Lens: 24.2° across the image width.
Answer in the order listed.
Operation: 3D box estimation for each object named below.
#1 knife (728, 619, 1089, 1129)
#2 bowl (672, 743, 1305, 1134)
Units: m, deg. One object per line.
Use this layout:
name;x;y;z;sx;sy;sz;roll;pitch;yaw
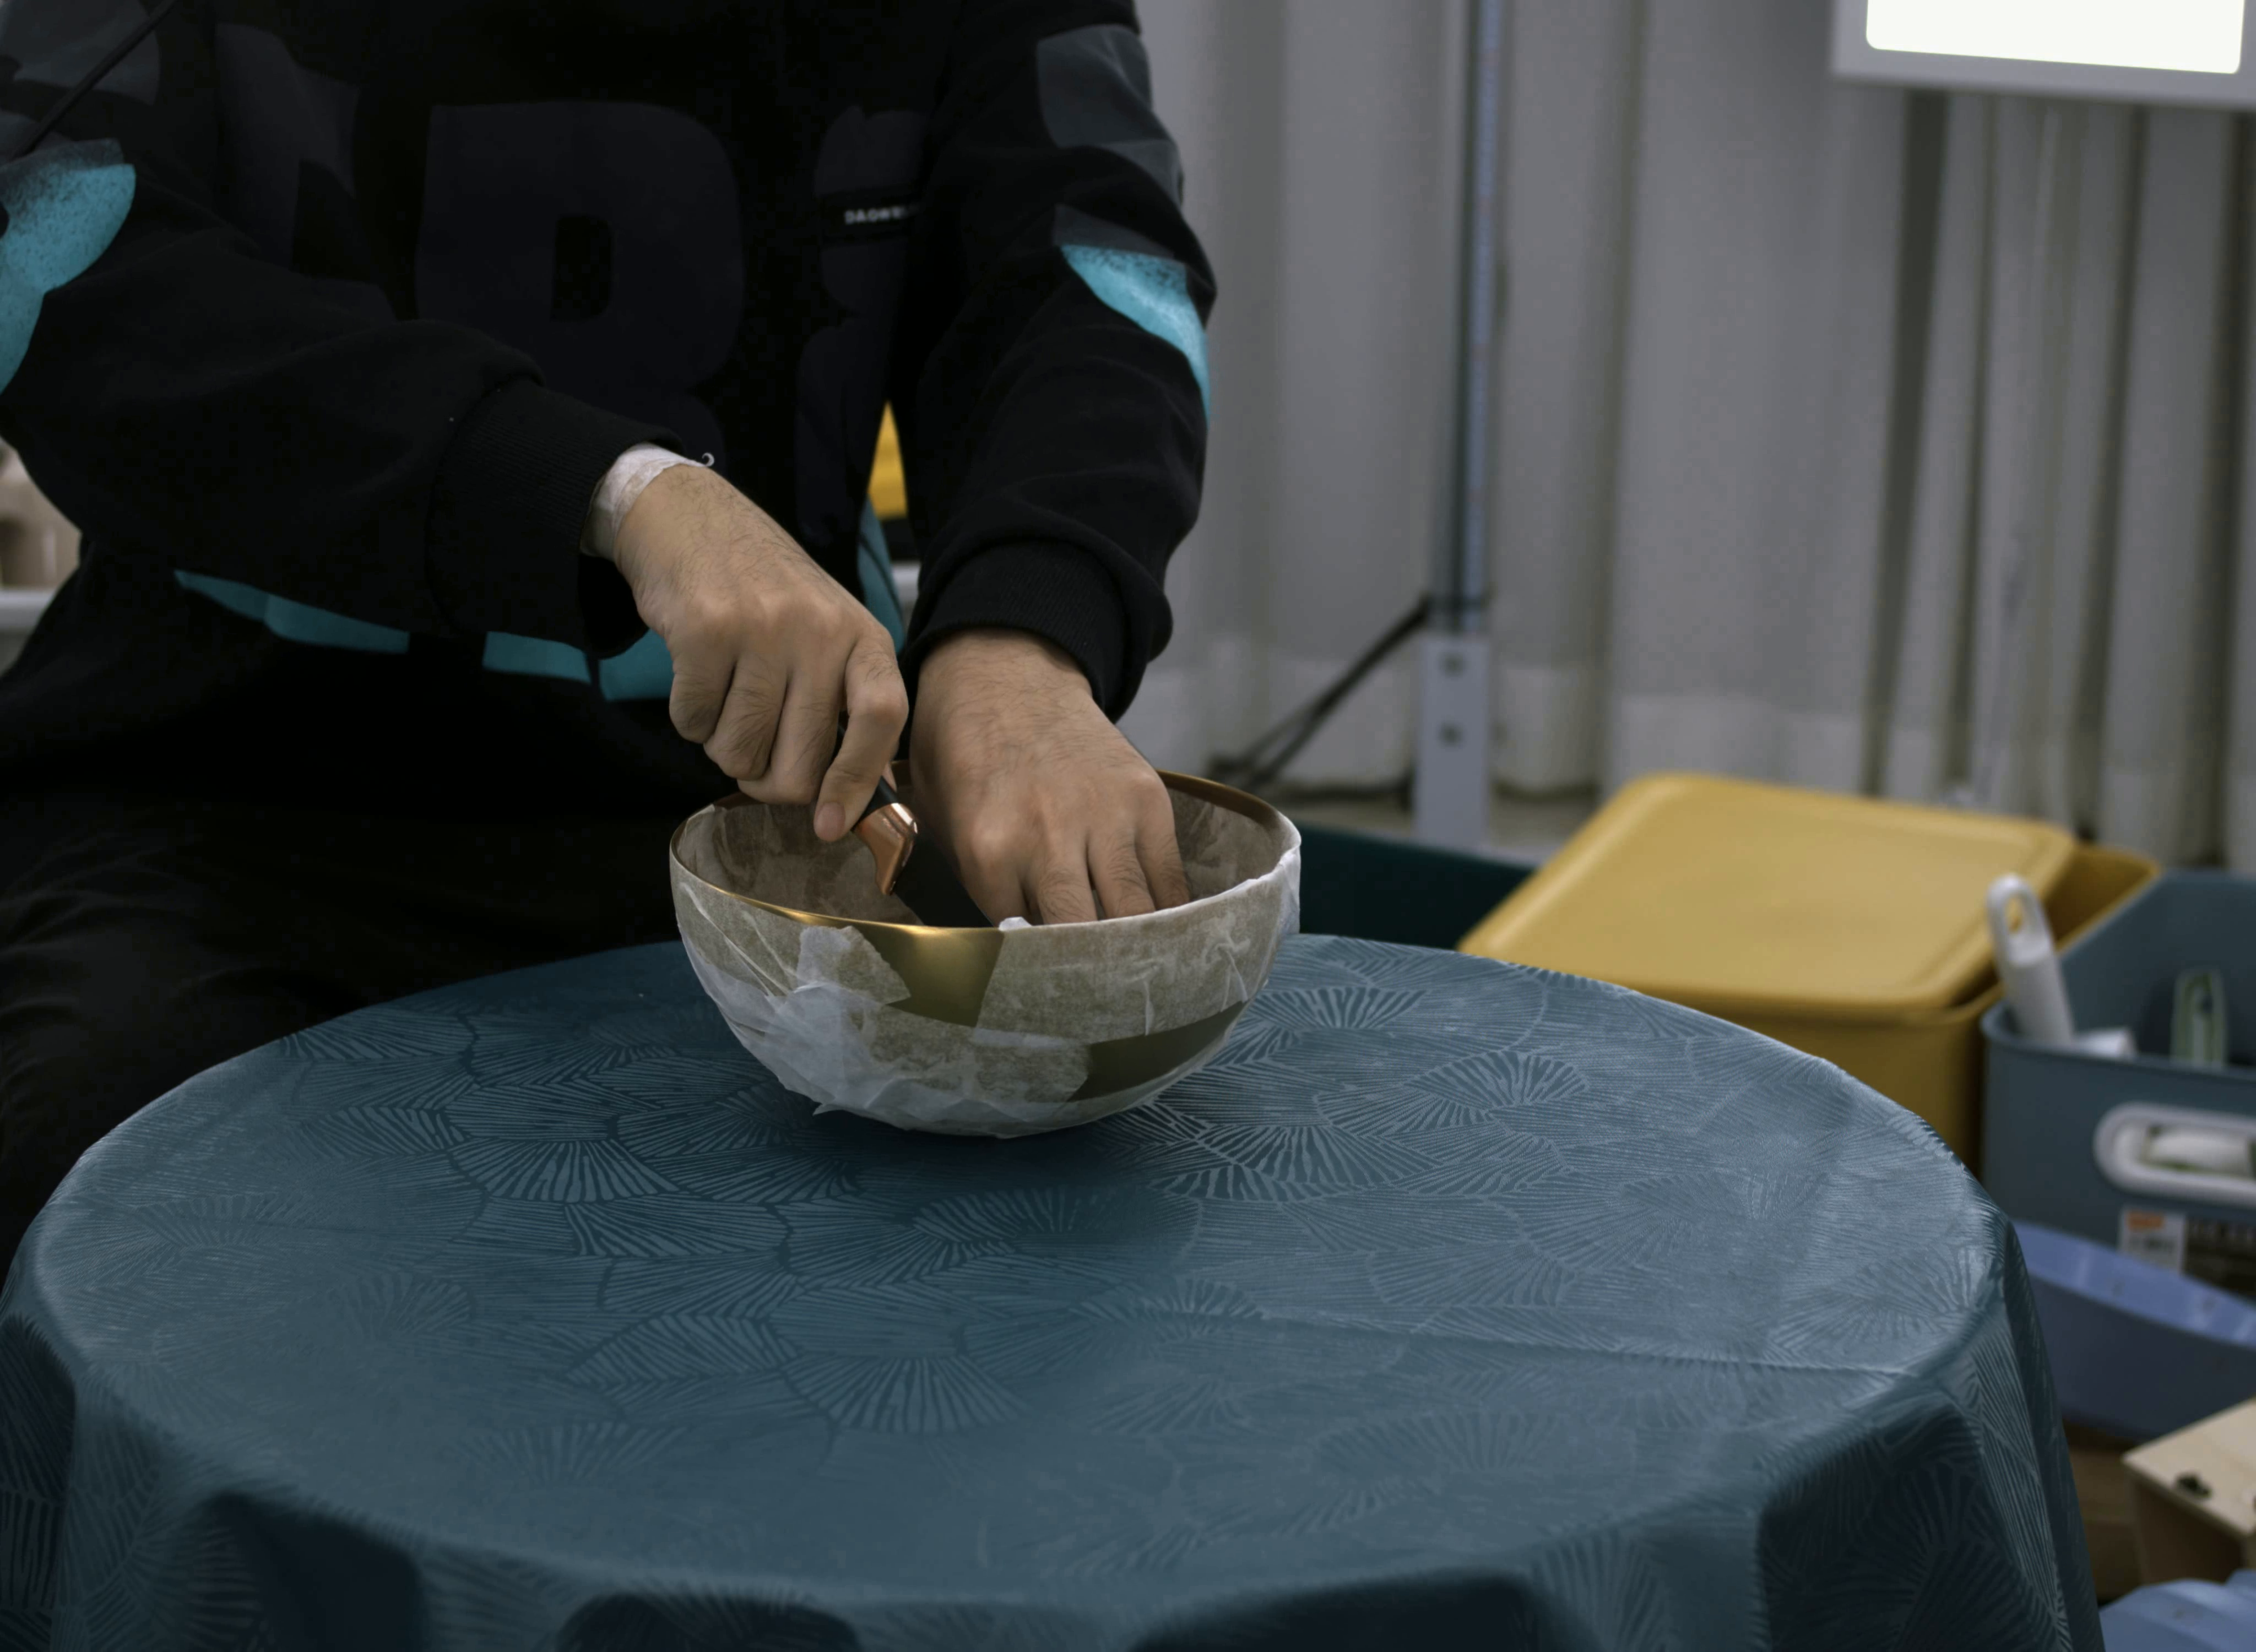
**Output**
knife;-0.069;0.013;1.684;0.017;0.026;0.223;-3;45;-45
bowl;-0.046;0.043;1.689;0.214;0.095;0.213;0;17;1
